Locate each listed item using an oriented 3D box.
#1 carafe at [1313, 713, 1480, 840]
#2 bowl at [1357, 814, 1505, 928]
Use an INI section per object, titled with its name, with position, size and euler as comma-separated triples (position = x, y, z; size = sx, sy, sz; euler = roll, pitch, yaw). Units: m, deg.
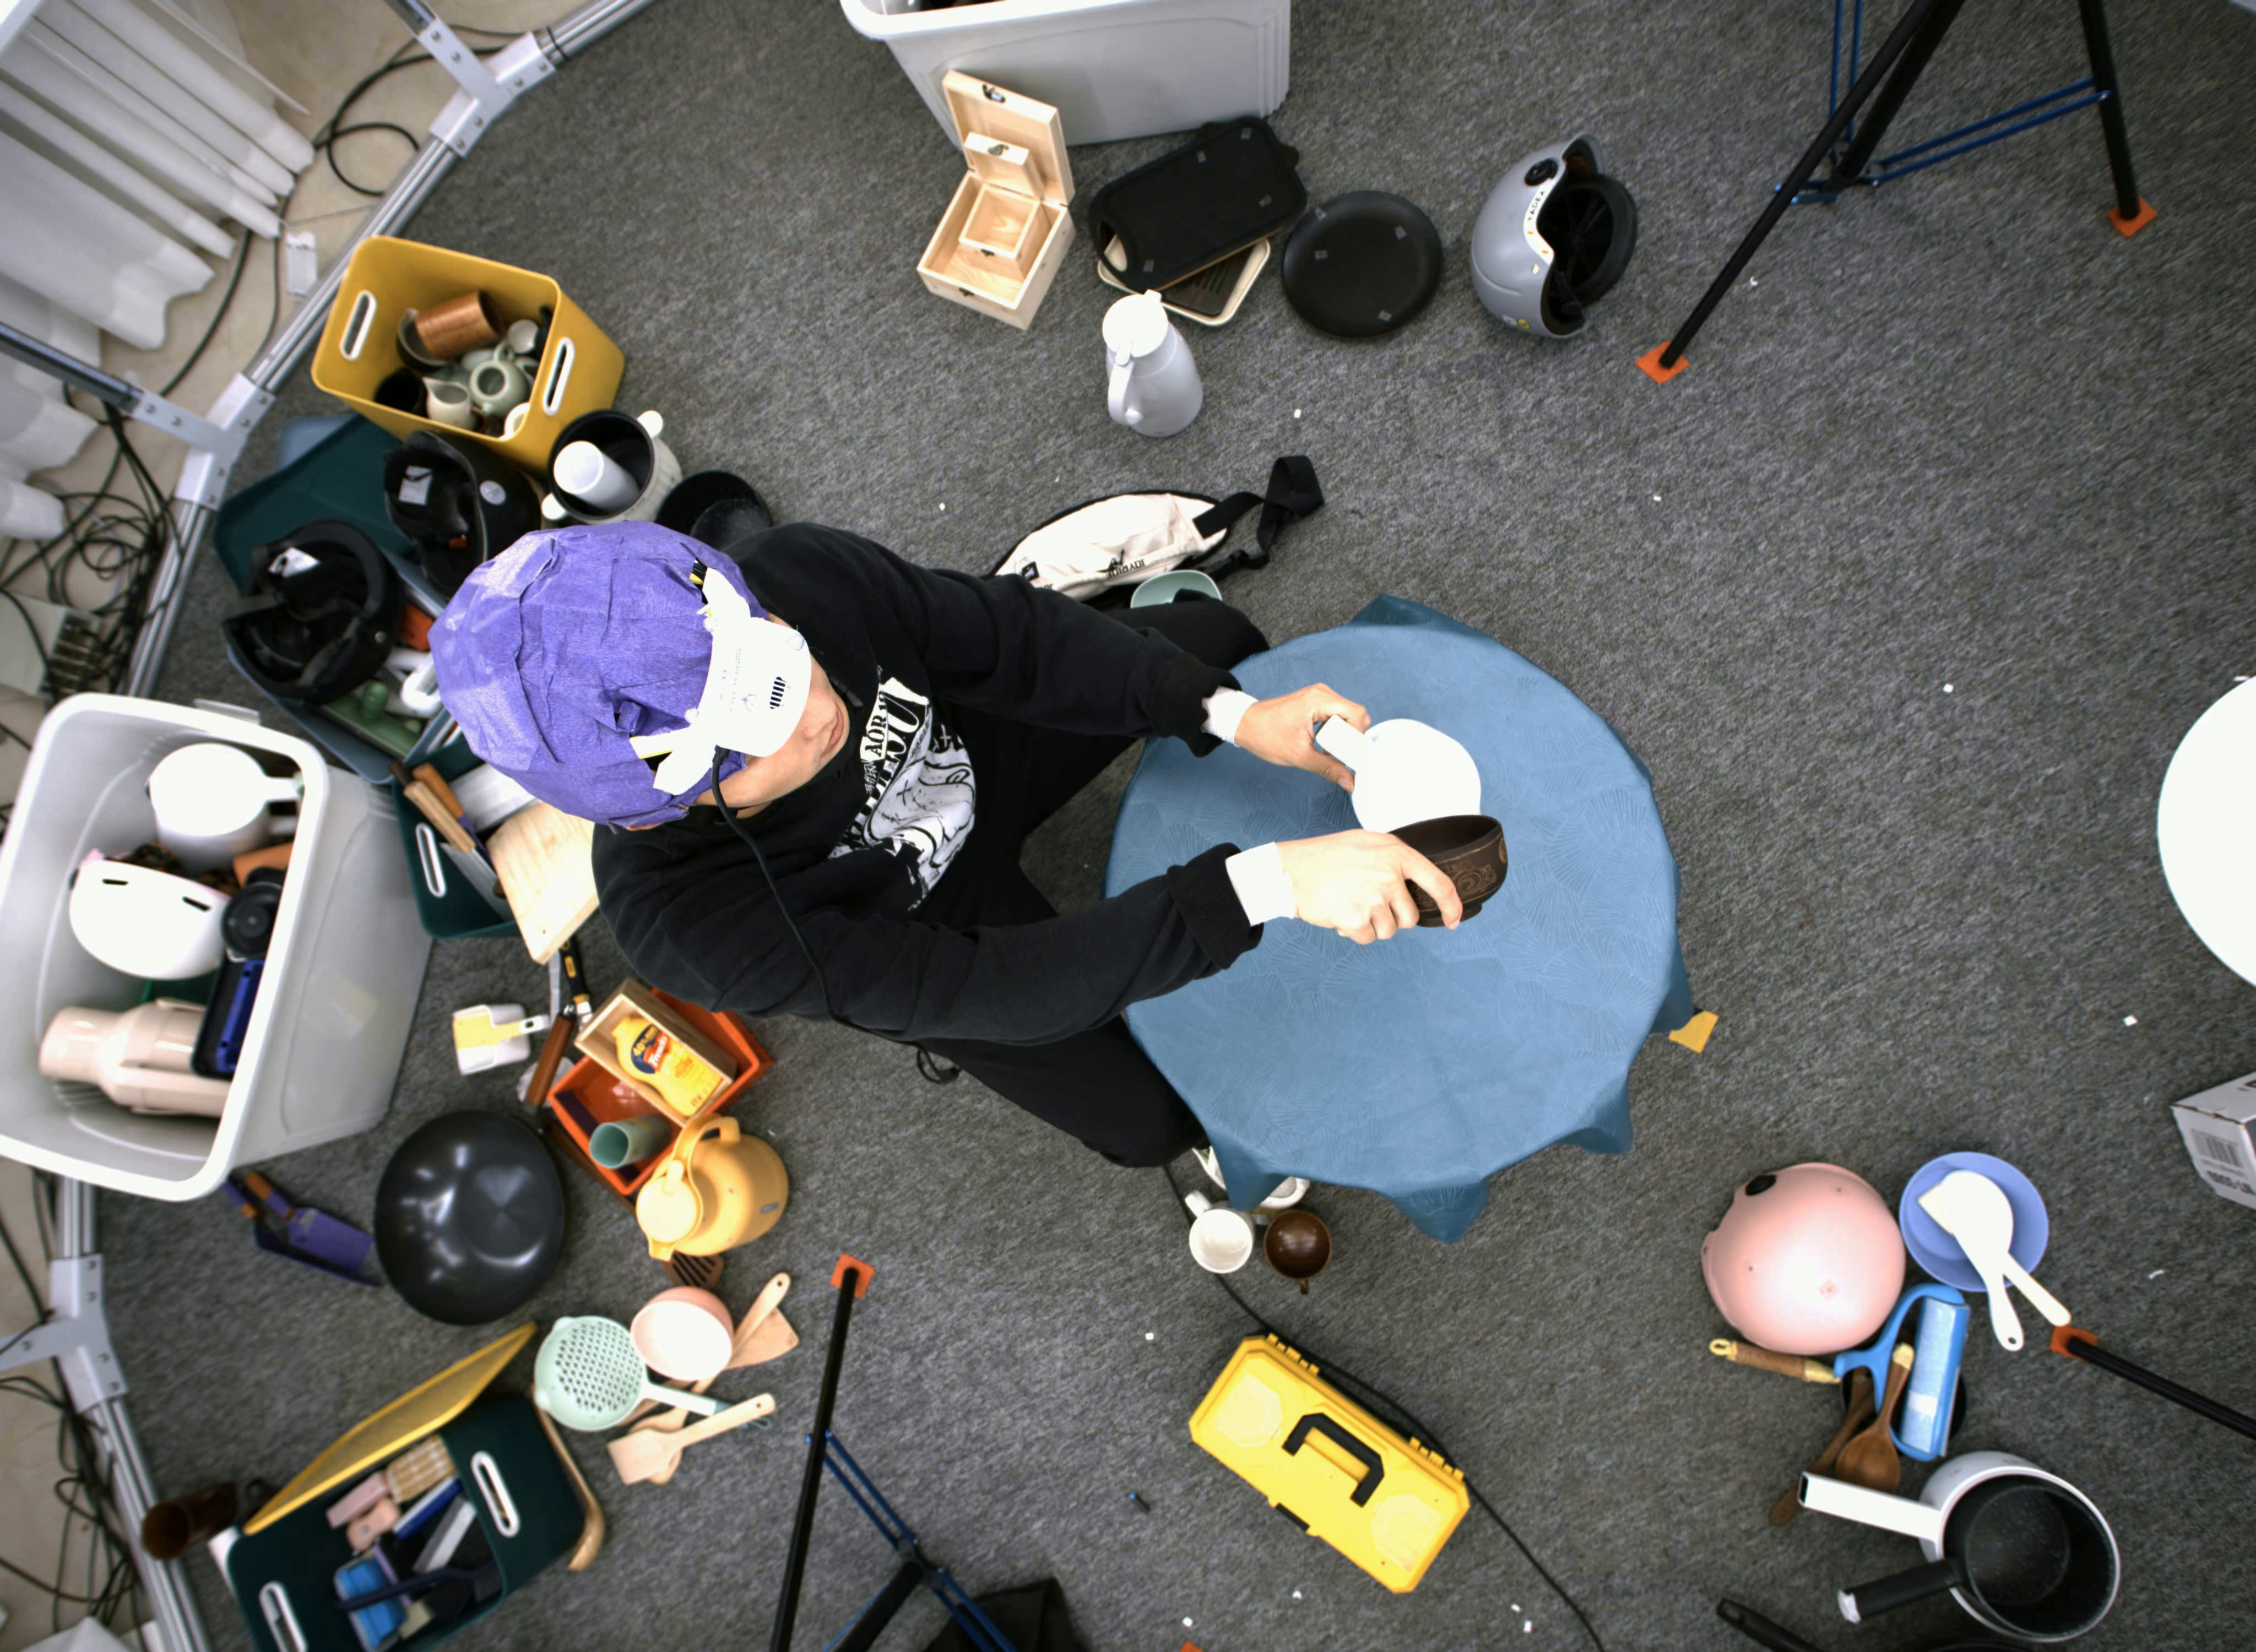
[carafe]
position = 0.255, -0.049, 1.325
size = 0.173, 0.266, 0.125
euler = 34, 103, 1
[bowl]
position = 0.252, 0.040, 1.130
size = 0.118, 0.116, 0.070
euler = -15, 103, 9
